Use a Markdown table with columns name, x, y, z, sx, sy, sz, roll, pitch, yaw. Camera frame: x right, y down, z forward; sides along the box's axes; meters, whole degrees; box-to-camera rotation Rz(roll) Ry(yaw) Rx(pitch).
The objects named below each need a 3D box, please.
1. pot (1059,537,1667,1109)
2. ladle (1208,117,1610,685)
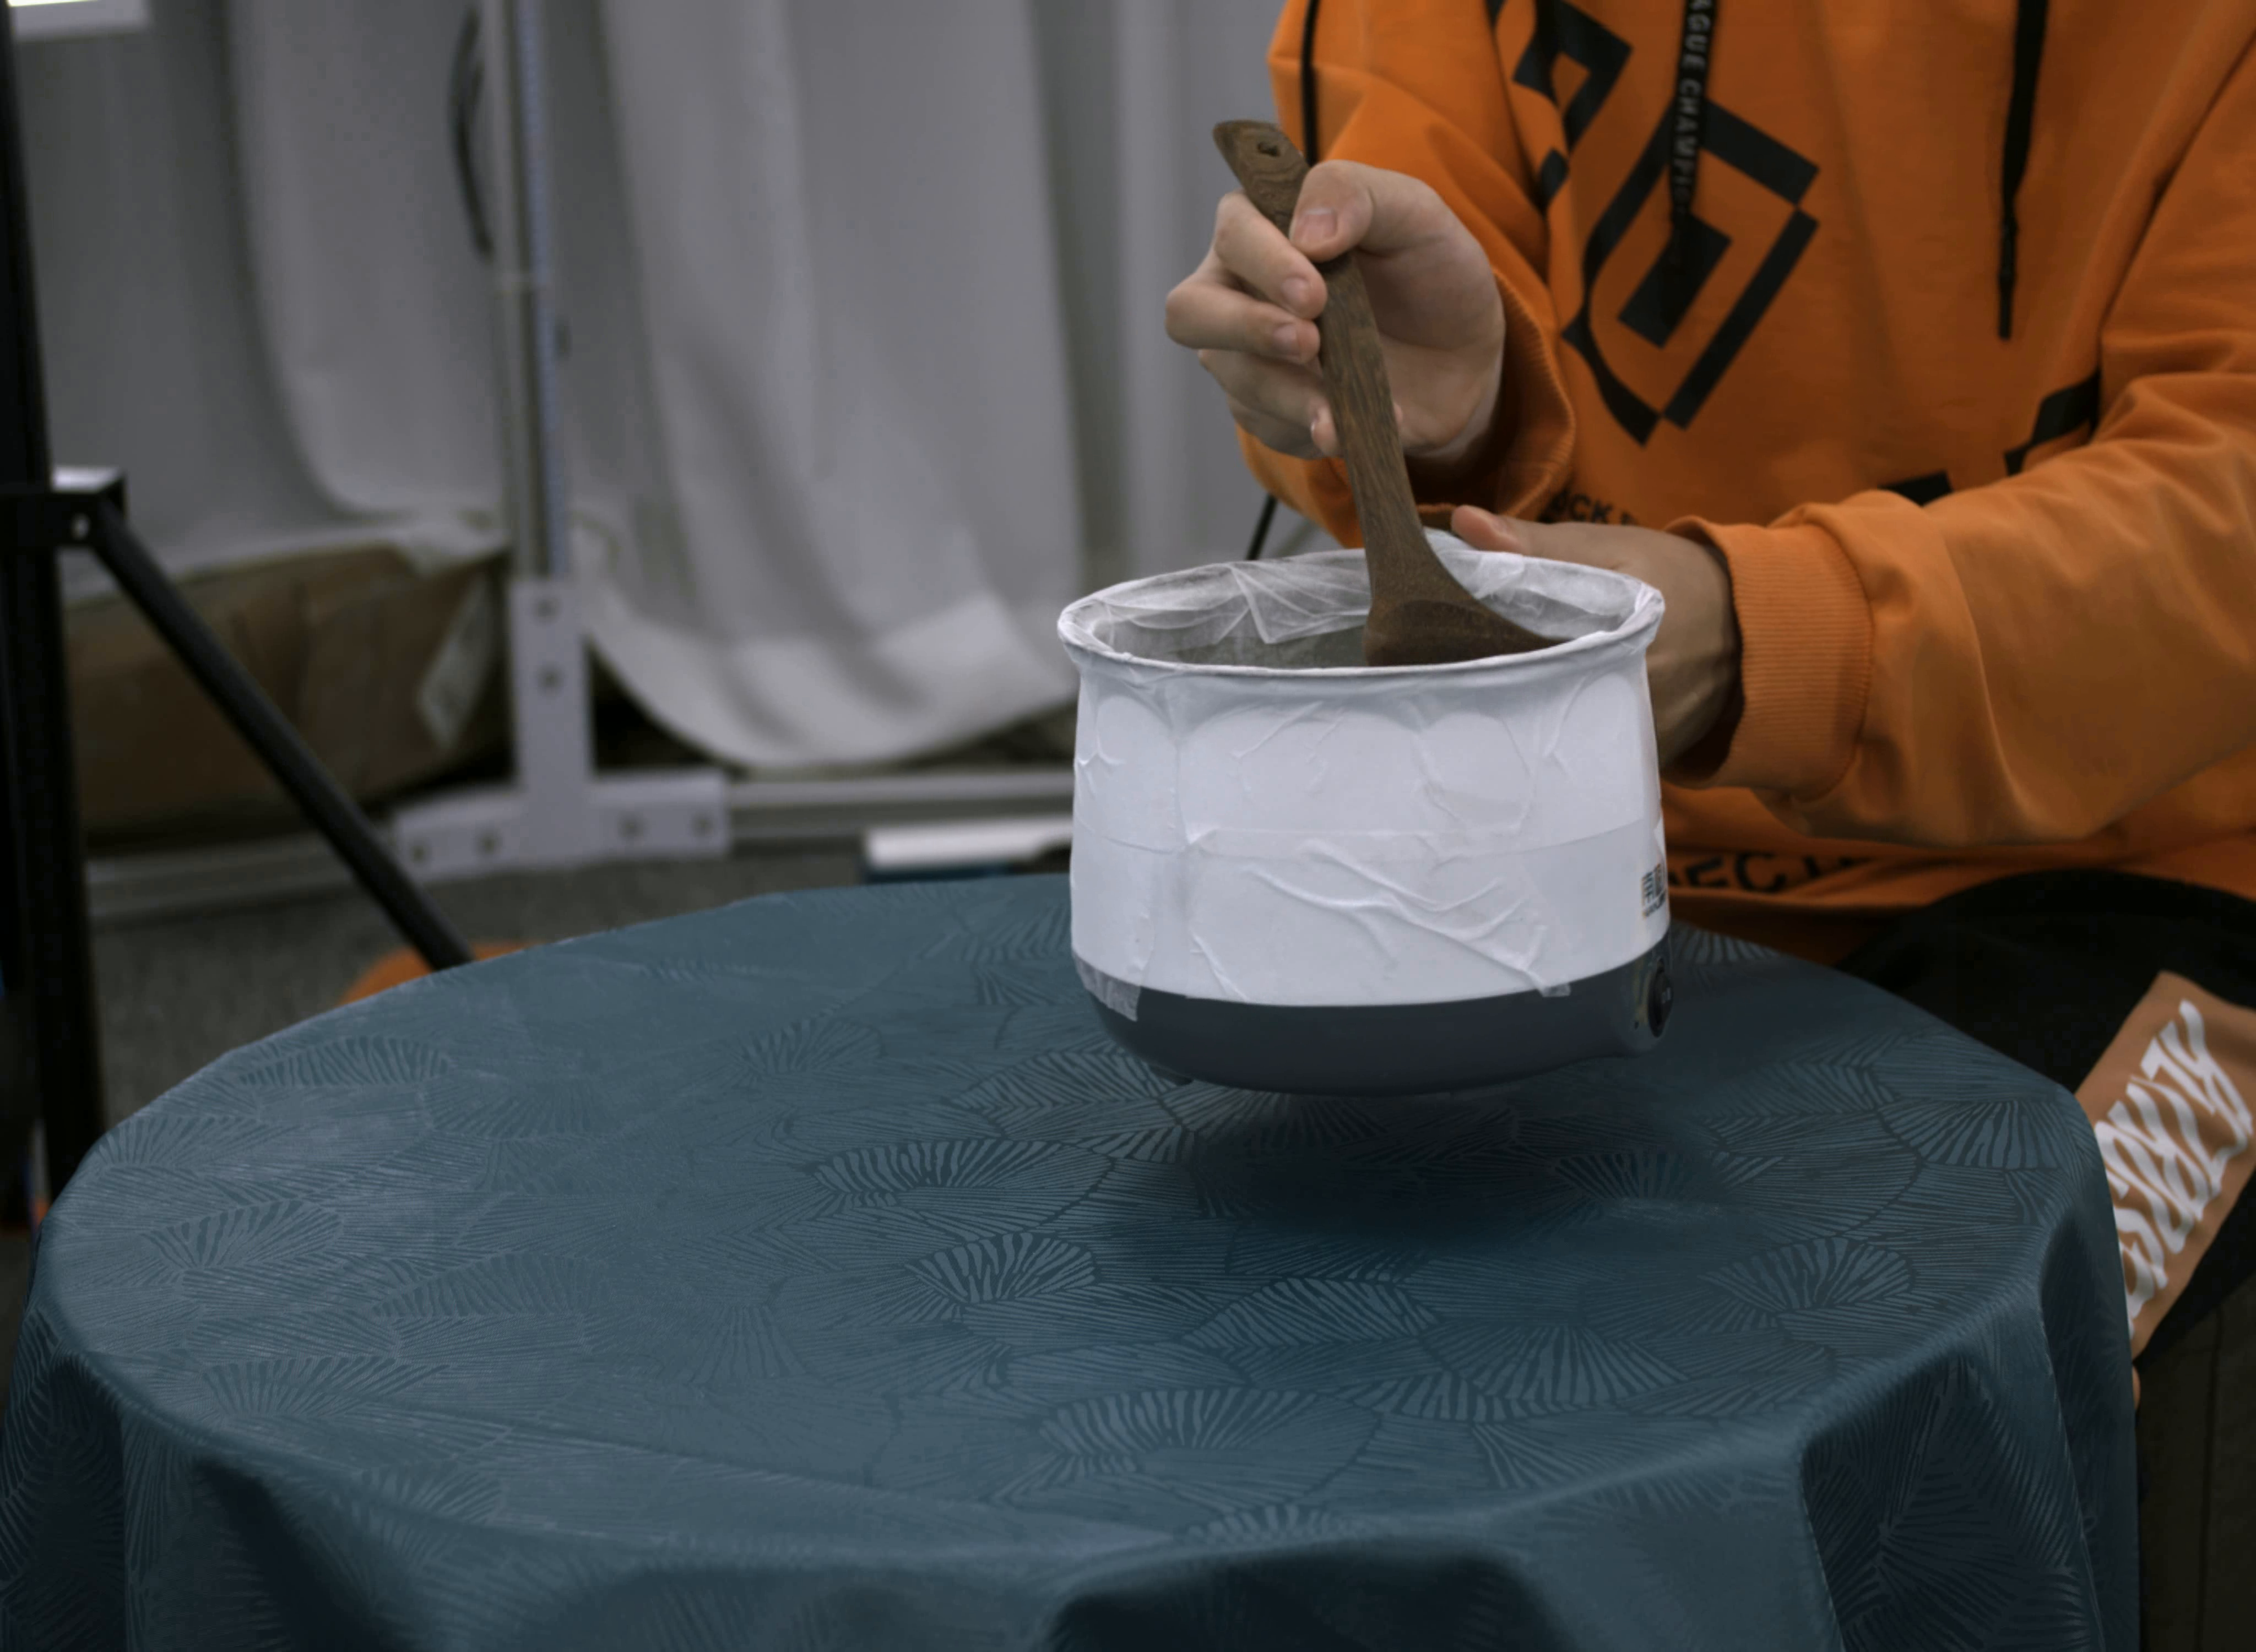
| name | x | y | z | sx | sy | sz | roll | pitch | yaw |
| --- | --- | --- | --- | --- | --- | --- | --- | --- | --- |
| pot | 0.078 | -0.006 | 1.582 | 0.180 | 0.137 | 0.231 | 2 | 13 | 19 |
| ladle | 0.079 | -0.134 | 1.593 | 0.074 | 0.072 | 0.278 | 8 | 48 | -28 |
